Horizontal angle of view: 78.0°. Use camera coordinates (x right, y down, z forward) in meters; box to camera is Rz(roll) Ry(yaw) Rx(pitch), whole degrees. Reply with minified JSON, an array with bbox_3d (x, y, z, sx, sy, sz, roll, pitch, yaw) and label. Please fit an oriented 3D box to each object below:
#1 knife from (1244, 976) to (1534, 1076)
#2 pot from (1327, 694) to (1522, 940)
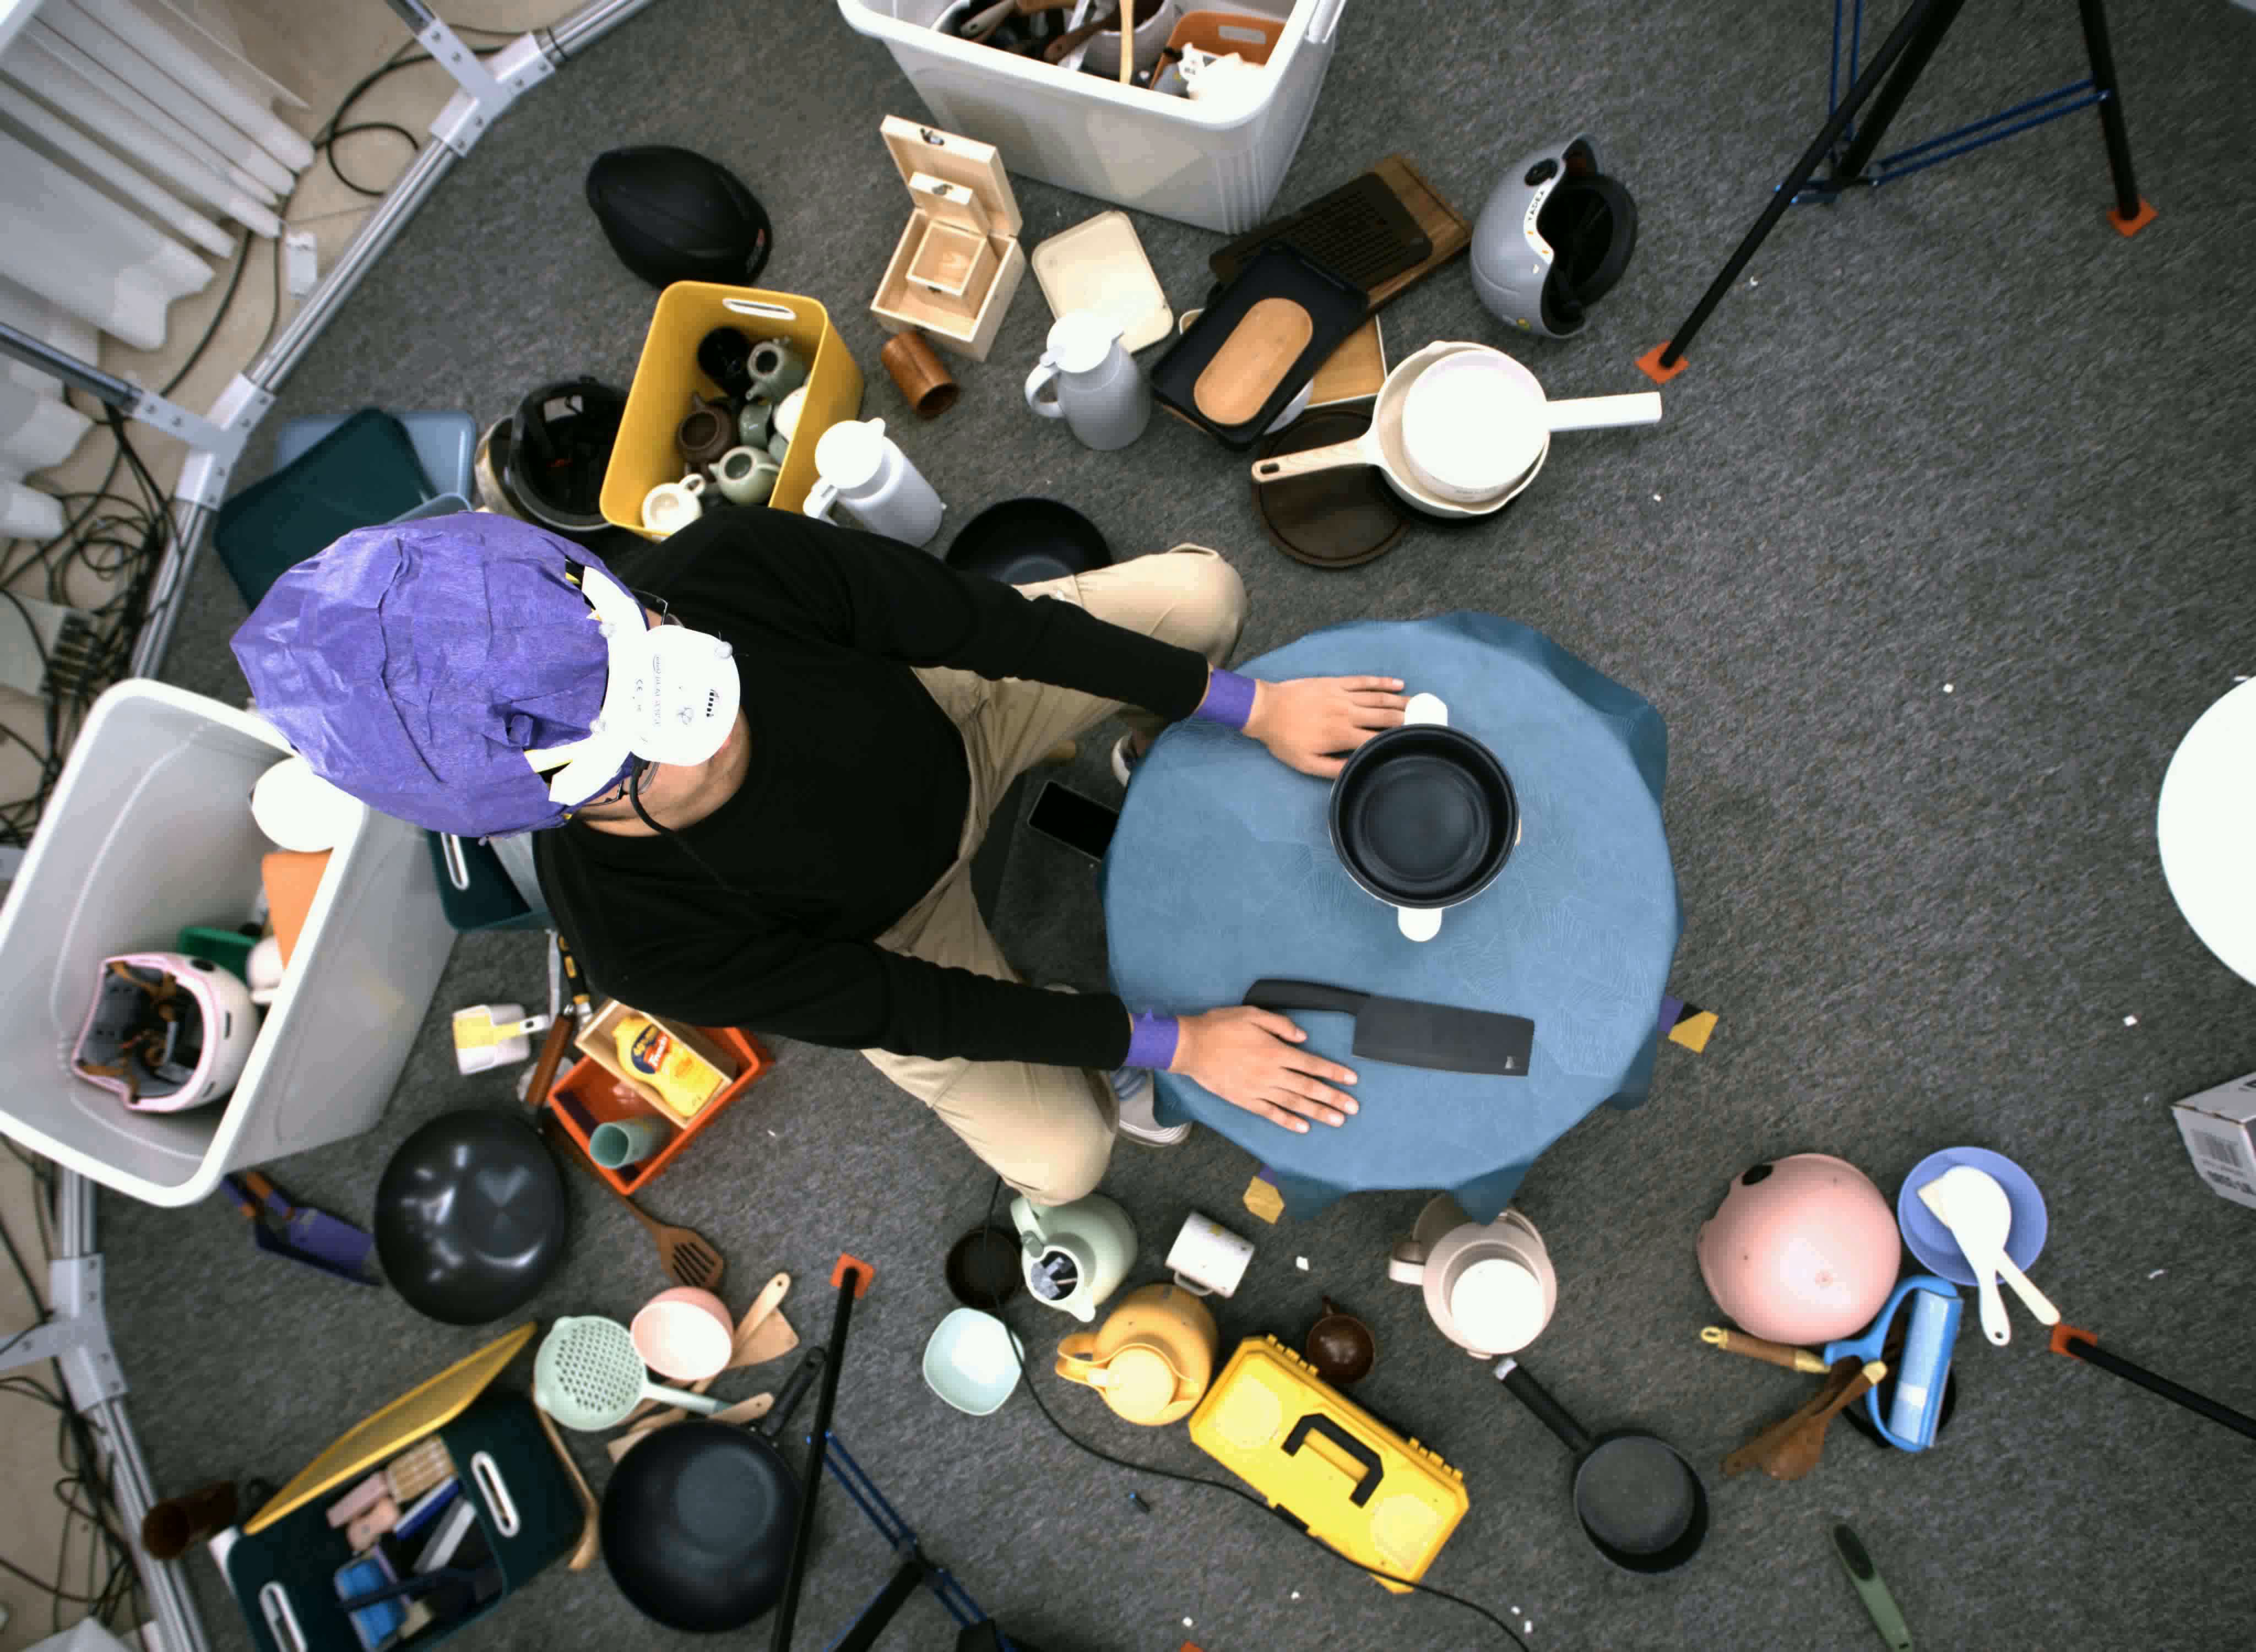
[{"bbox_3d":[0.271,0.205,1.448,0.303,0.021,0.081,12,91,9],"label":"knife"},{"bbox_3d":[0.301,-0.006,1.389,0.191,0.142,0.239,1,88,14],"label":"pot"}]
